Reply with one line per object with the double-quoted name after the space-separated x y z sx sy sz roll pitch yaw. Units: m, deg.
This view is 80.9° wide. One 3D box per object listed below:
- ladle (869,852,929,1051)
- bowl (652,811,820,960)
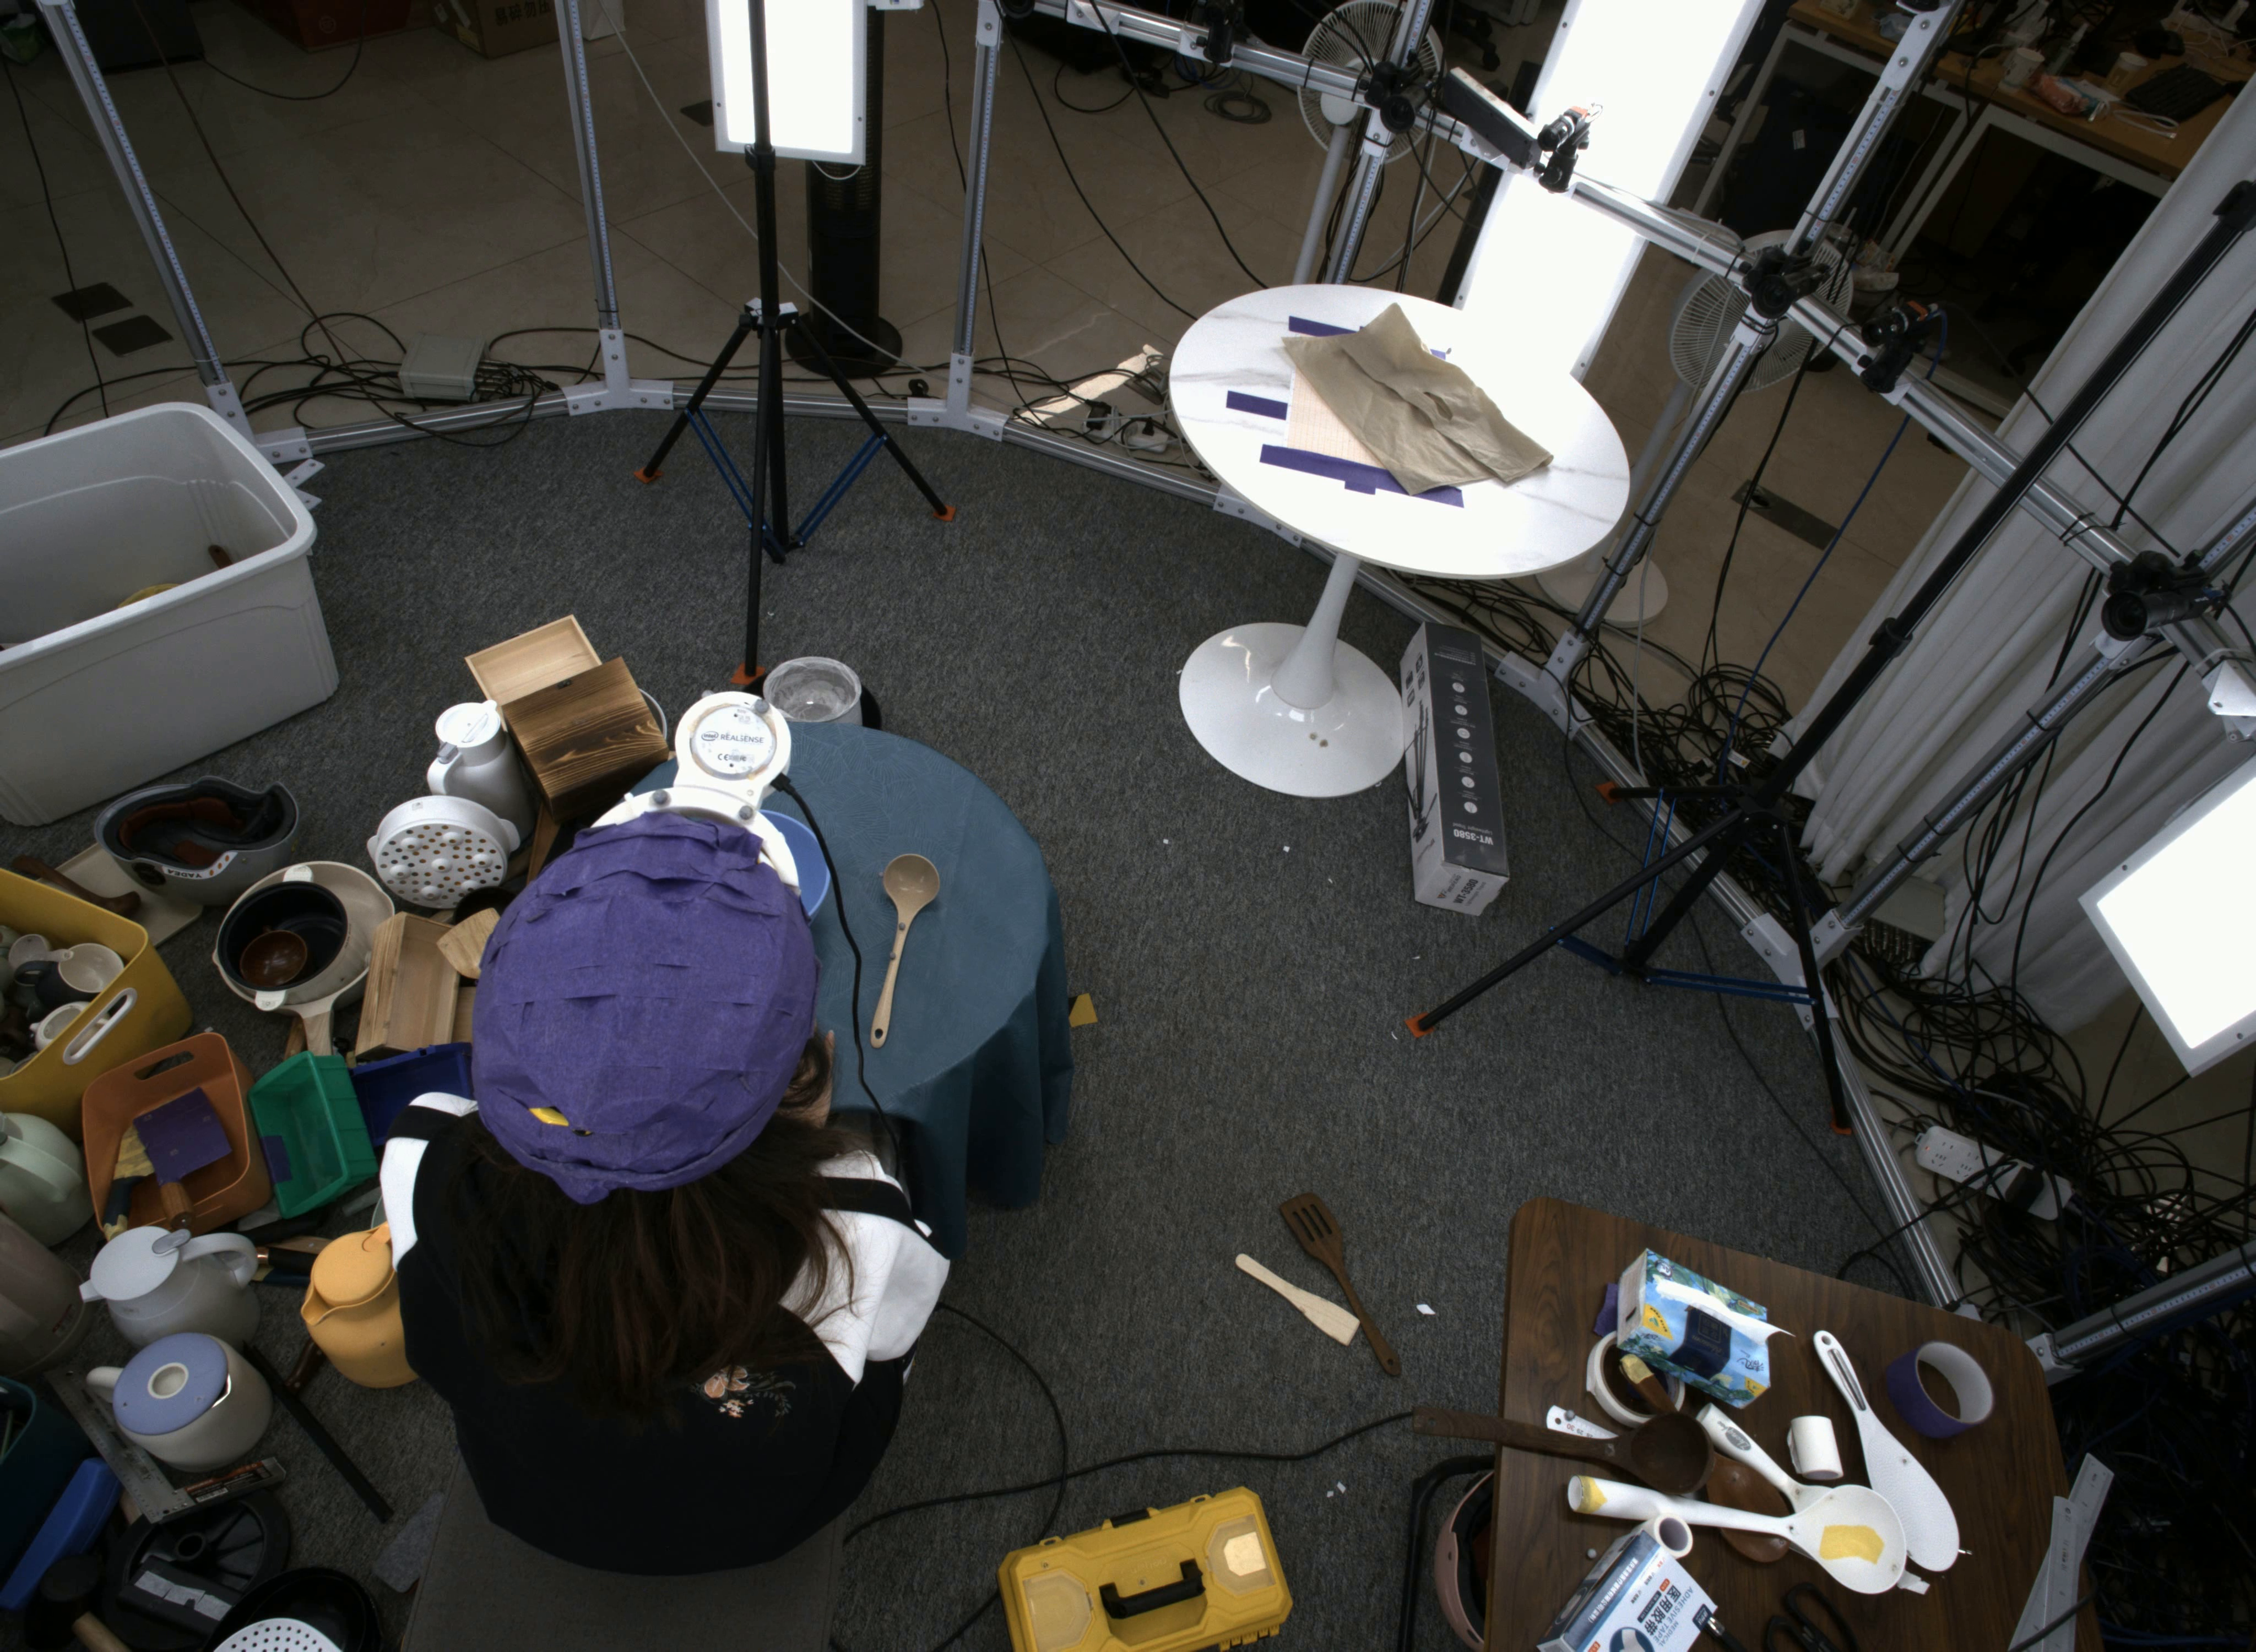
-0.293 0.144 1.598 0.072 0.074 0.250 7 52 -6 "ladle"
-0.477 0.086 1.582 0.196 0.097 0.193 9 52 -10 "bowl"
